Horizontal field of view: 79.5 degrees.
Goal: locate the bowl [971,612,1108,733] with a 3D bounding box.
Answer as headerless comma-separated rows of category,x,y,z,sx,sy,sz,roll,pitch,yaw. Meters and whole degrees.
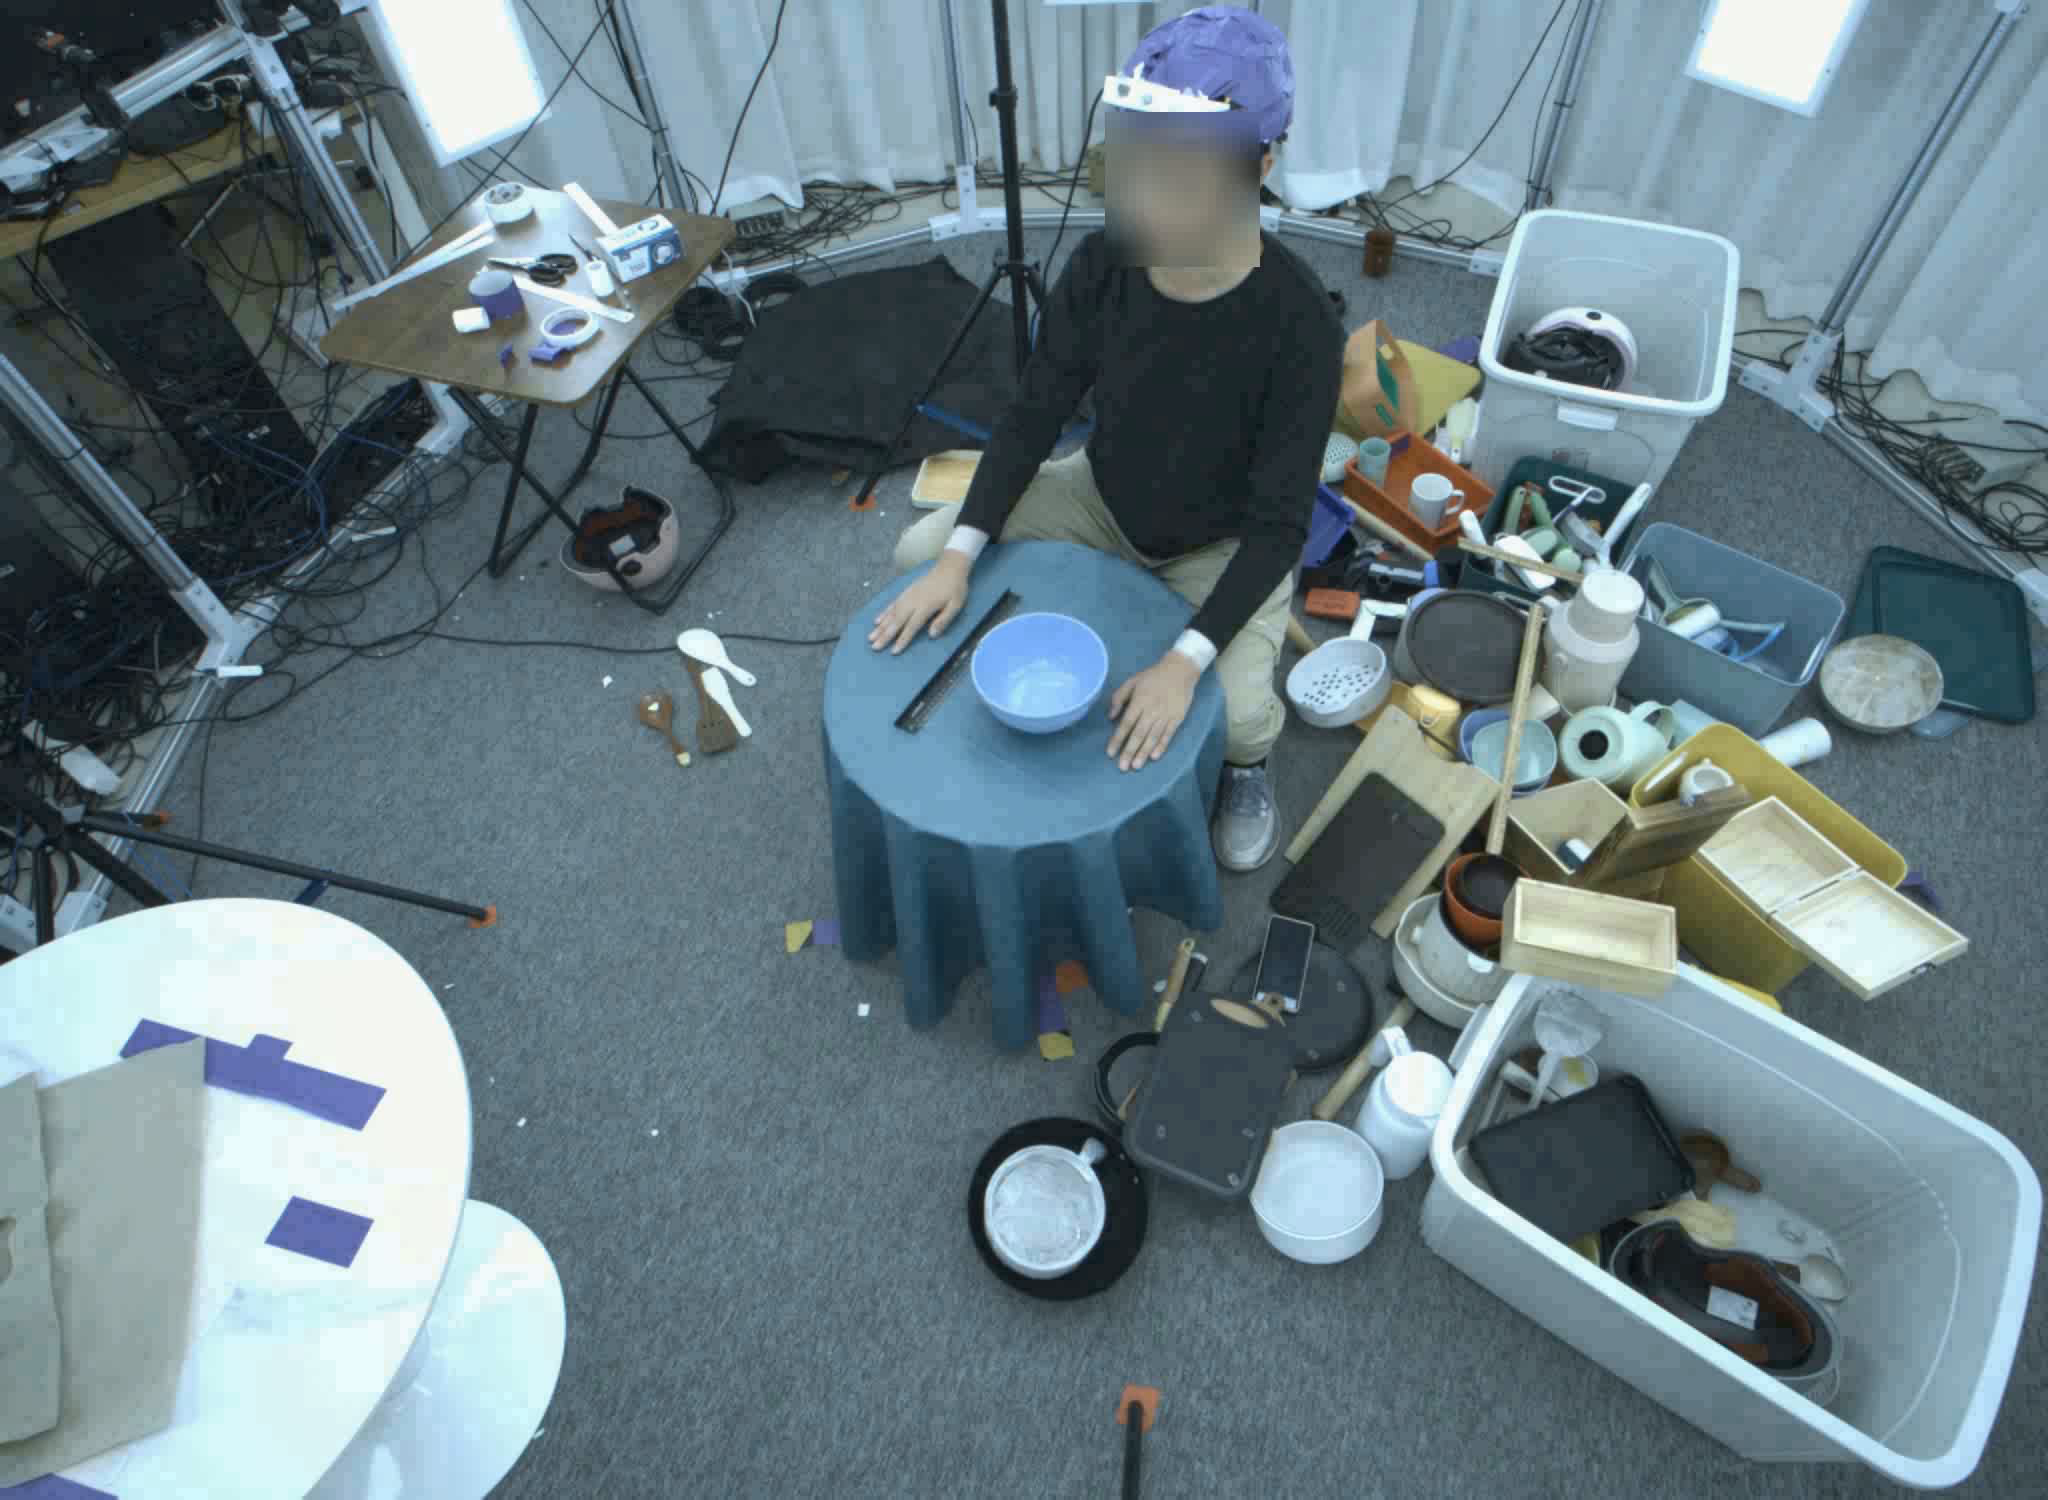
bowl,0.024,-0.098,1.797,0.196,0.096,0.194,-1,56,2

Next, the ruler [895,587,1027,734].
ruler,-0.094,-0.142,1.882,0.039,0.017,0.313,29,60,16
